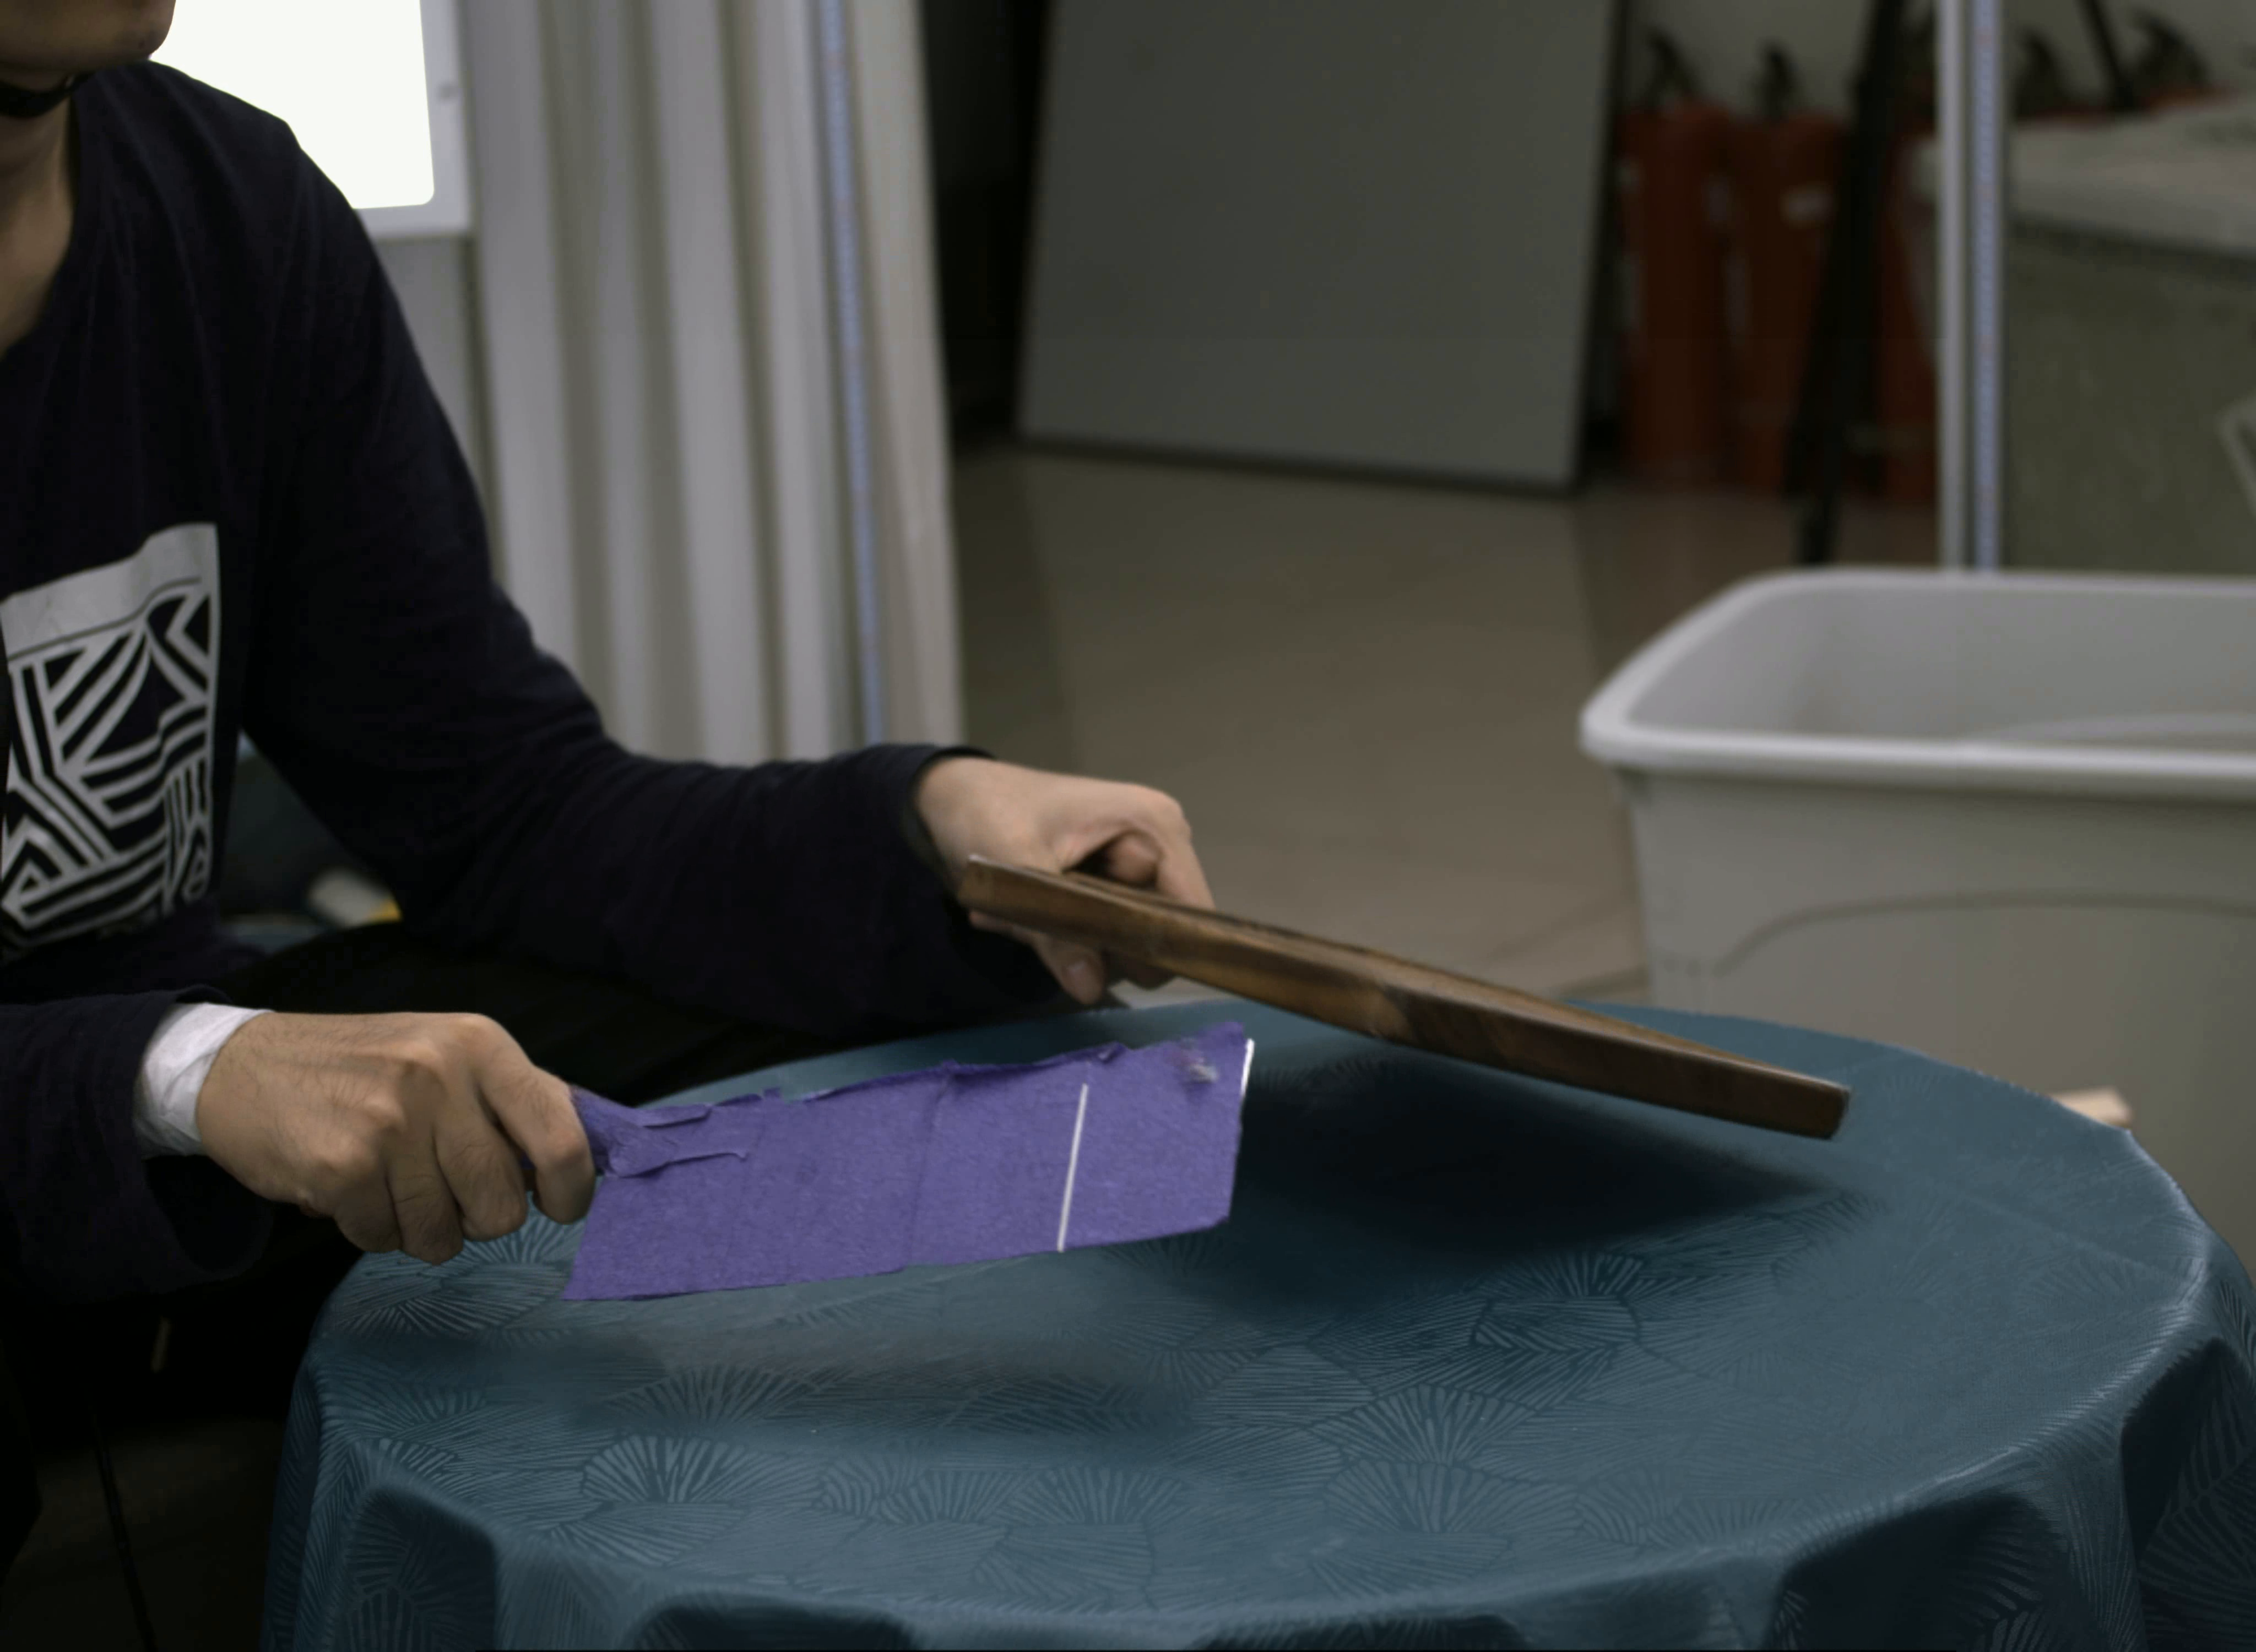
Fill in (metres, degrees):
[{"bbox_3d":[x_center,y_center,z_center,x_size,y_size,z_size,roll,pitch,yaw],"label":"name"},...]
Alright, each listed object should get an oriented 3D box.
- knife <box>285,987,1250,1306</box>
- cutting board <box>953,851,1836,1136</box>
[{"bbox_3d":[-0.115,0.104,1.619,0.314,0.032,0.104,-11,32,17],"label":"knife"},{"bbox_3d":[0.058,0.048,1.813,0.196,0.023,0.356,15,-1,-33],"label":"cutting board"}]
